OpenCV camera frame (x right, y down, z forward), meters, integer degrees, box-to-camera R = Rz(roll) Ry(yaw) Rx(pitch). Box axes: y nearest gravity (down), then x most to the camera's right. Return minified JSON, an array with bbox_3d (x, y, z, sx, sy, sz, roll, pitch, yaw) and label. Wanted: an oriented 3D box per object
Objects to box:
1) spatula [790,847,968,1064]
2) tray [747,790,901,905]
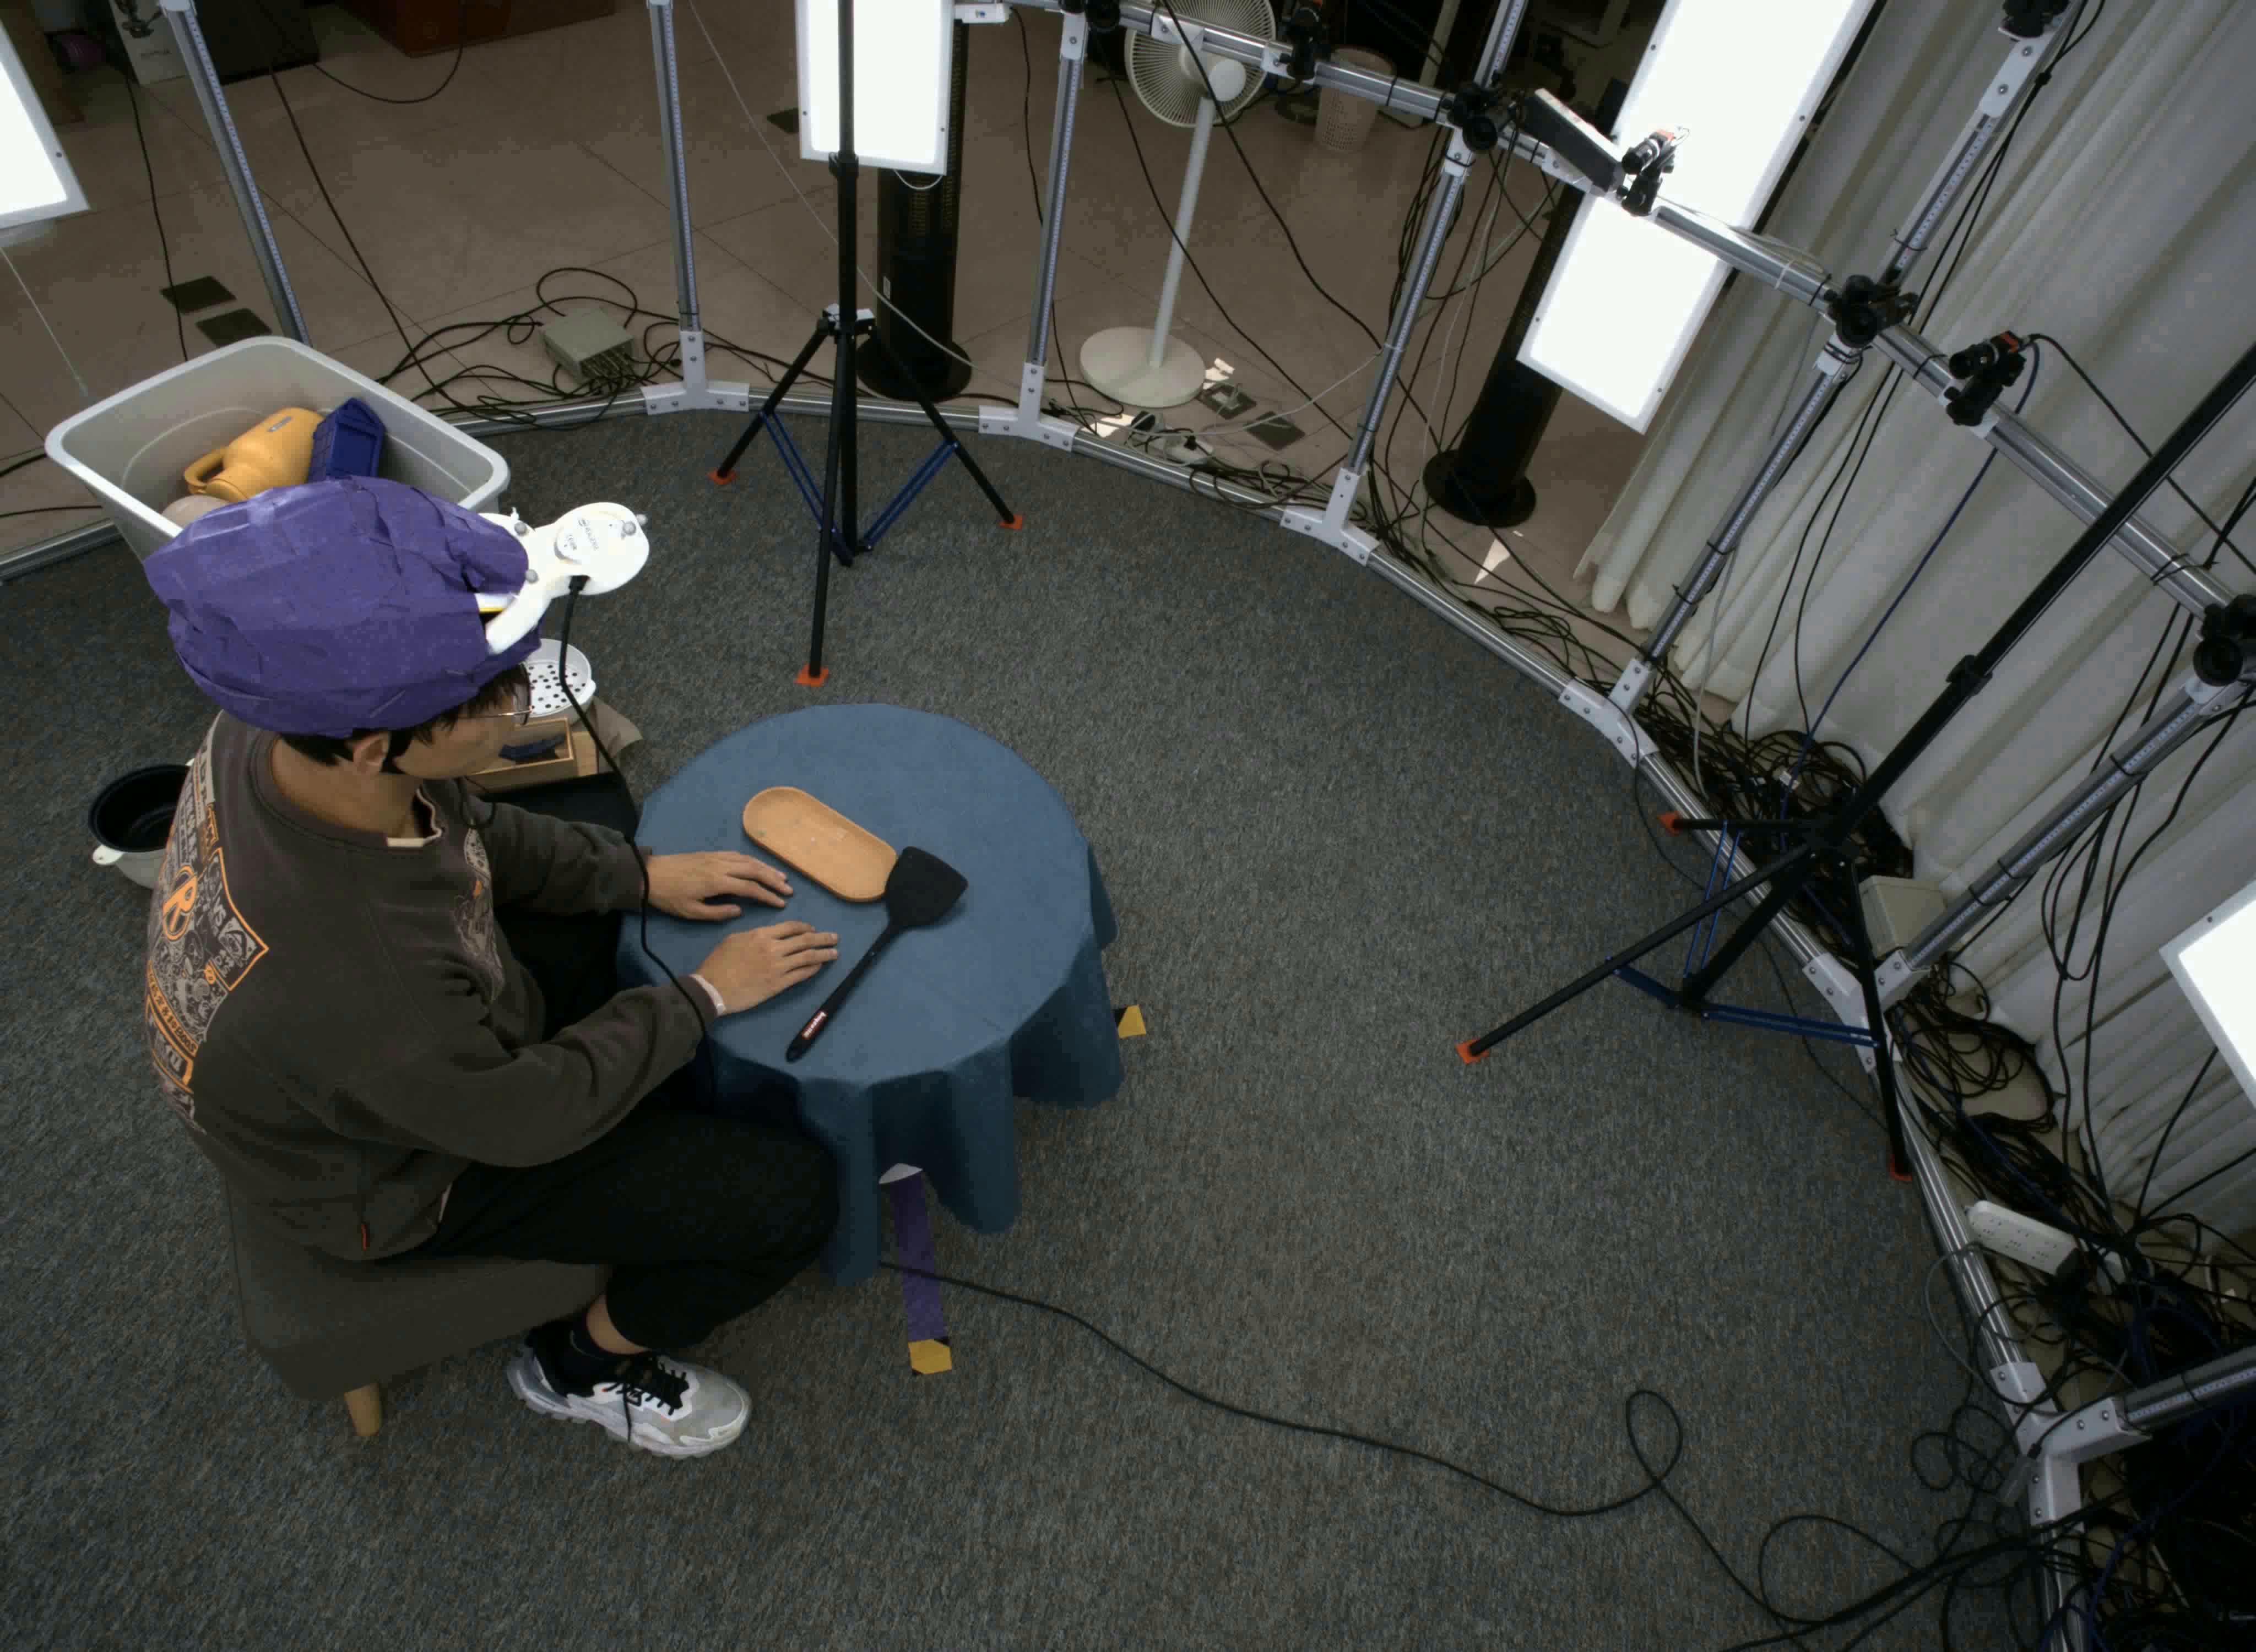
[{"bbox_3d":[-0.322,0.162,1.621,0.099,0.041,0.324,31,53,4],"label":"spatula"},{"bbox_3d":[-0.401,0.026,1.715,0.227,0.021,0.101,32,54,9],"label":"tray"}]
